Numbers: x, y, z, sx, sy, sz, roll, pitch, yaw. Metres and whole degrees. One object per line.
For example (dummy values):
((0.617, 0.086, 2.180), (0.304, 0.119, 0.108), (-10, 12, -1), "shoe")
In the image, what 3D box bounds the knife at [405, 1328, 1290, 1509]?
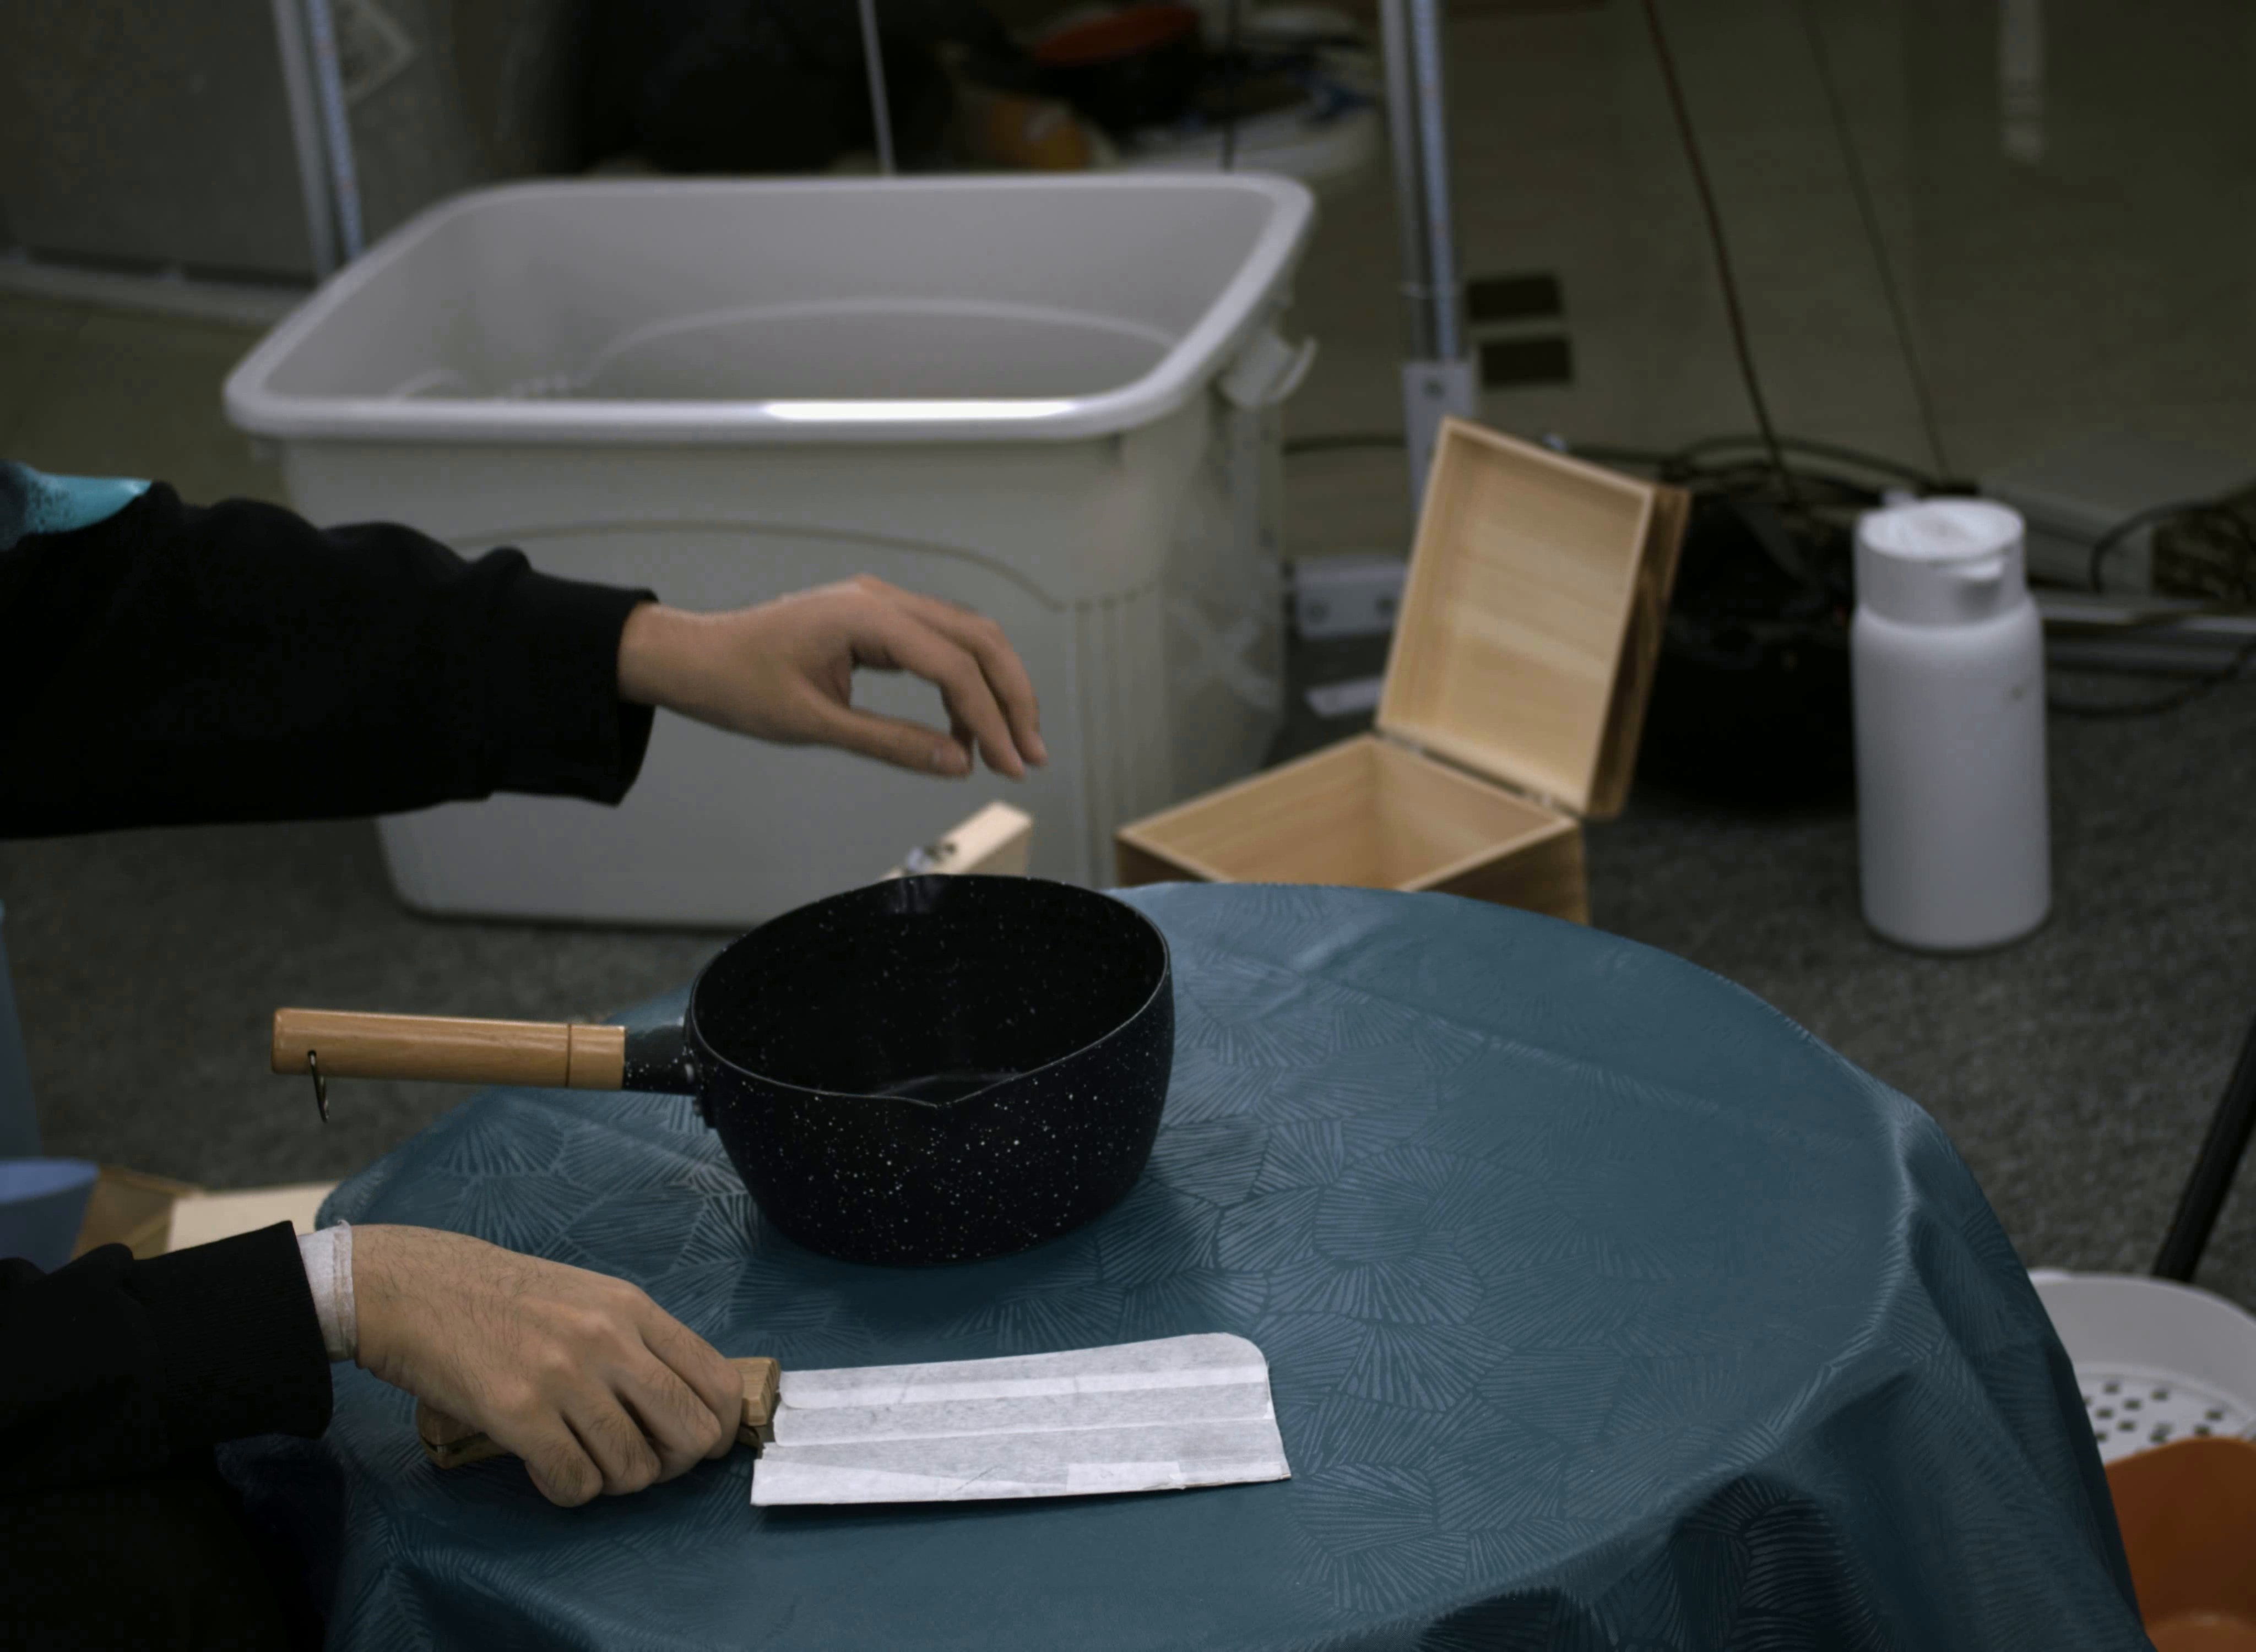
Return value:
((-0.099, 0.209, 2.000), (0.315, 0.022, 0.112), (-2, 26, 4), "knife")

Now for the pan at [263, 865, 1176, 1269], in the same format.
((-0.150, 0.097, 2.143), (0.342, 0.110, 0.204), (-8, 26, -6), "pan")
